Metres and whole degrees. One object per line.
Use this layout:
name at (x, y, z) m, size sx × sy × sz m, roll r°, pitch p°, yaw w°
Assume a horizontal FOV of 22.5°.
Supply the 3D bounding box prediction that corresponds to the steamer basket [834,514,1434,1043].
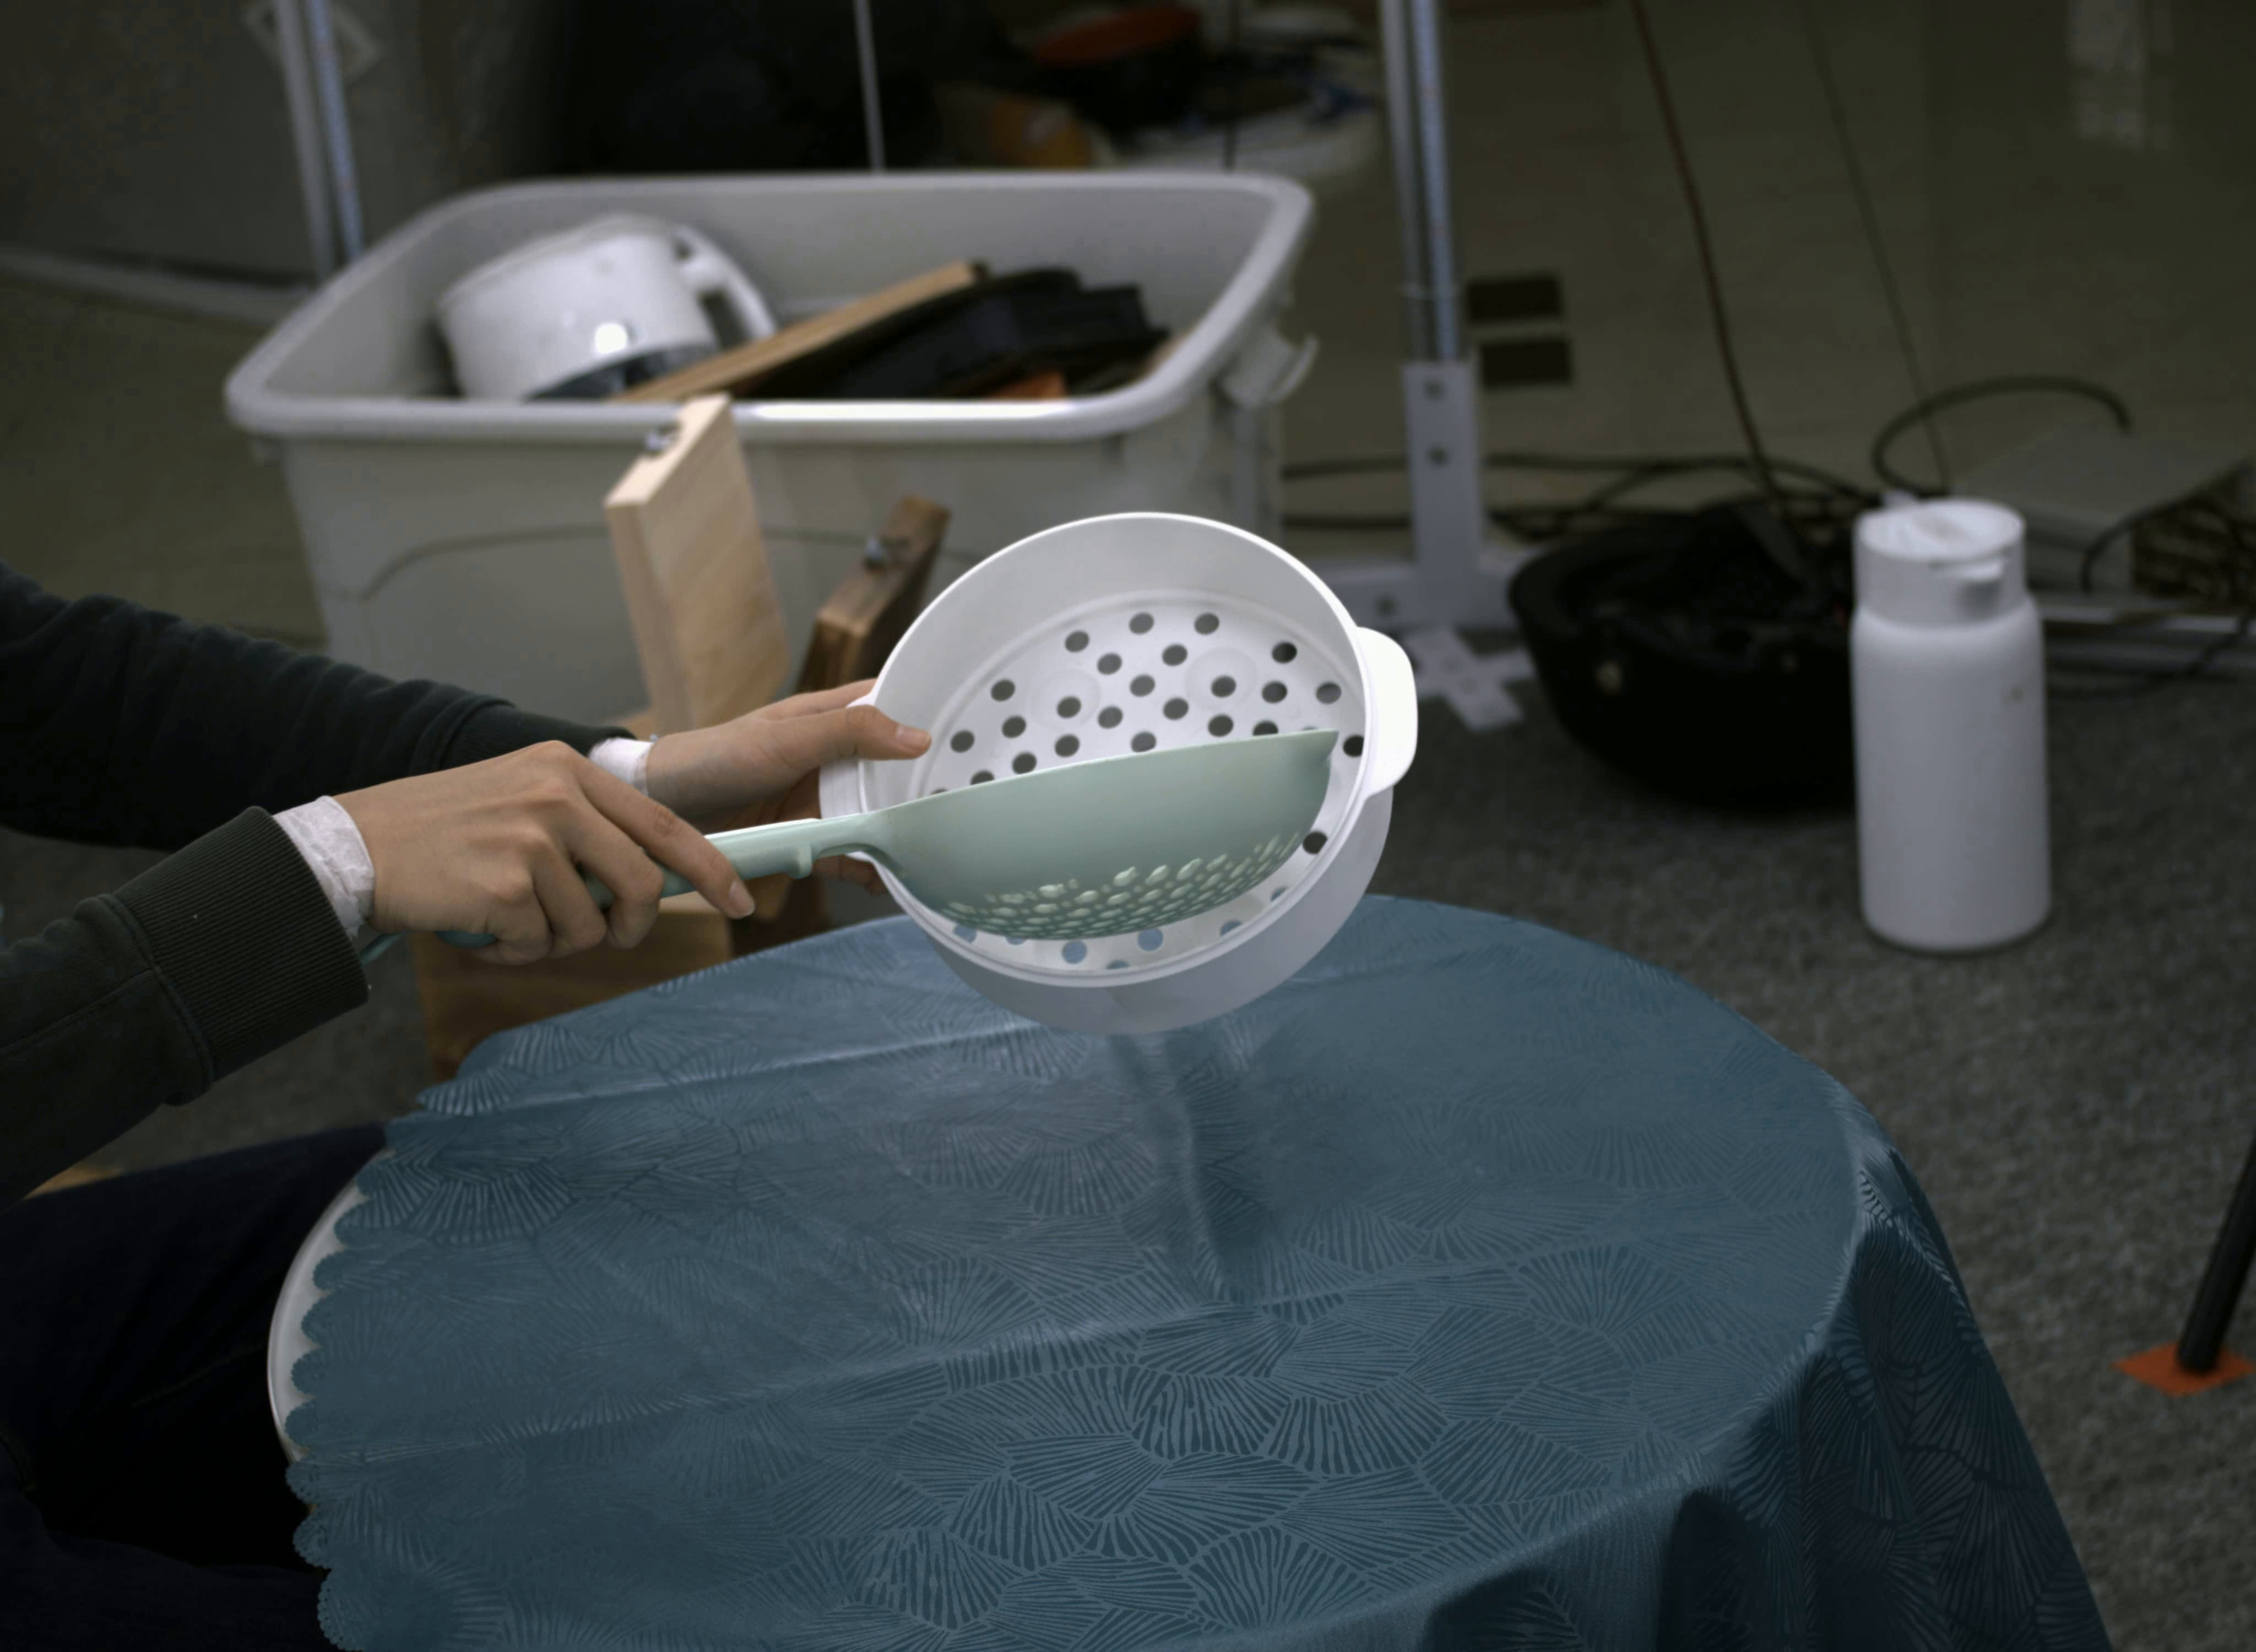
steamer basket at (0.007, -0.017, 2.140) m, size 0.230 × 0.070 × 0.199 m, roll -8°, pitch 62°, yaw 10°

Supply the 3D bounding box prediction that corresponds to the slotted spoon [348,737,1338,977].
slotted spoon at (-0.099, 0.012, 2.006) m, size 0.358 × 0.075 × 0.170 m, roll -1°, pitch -7°, yaw -19°
